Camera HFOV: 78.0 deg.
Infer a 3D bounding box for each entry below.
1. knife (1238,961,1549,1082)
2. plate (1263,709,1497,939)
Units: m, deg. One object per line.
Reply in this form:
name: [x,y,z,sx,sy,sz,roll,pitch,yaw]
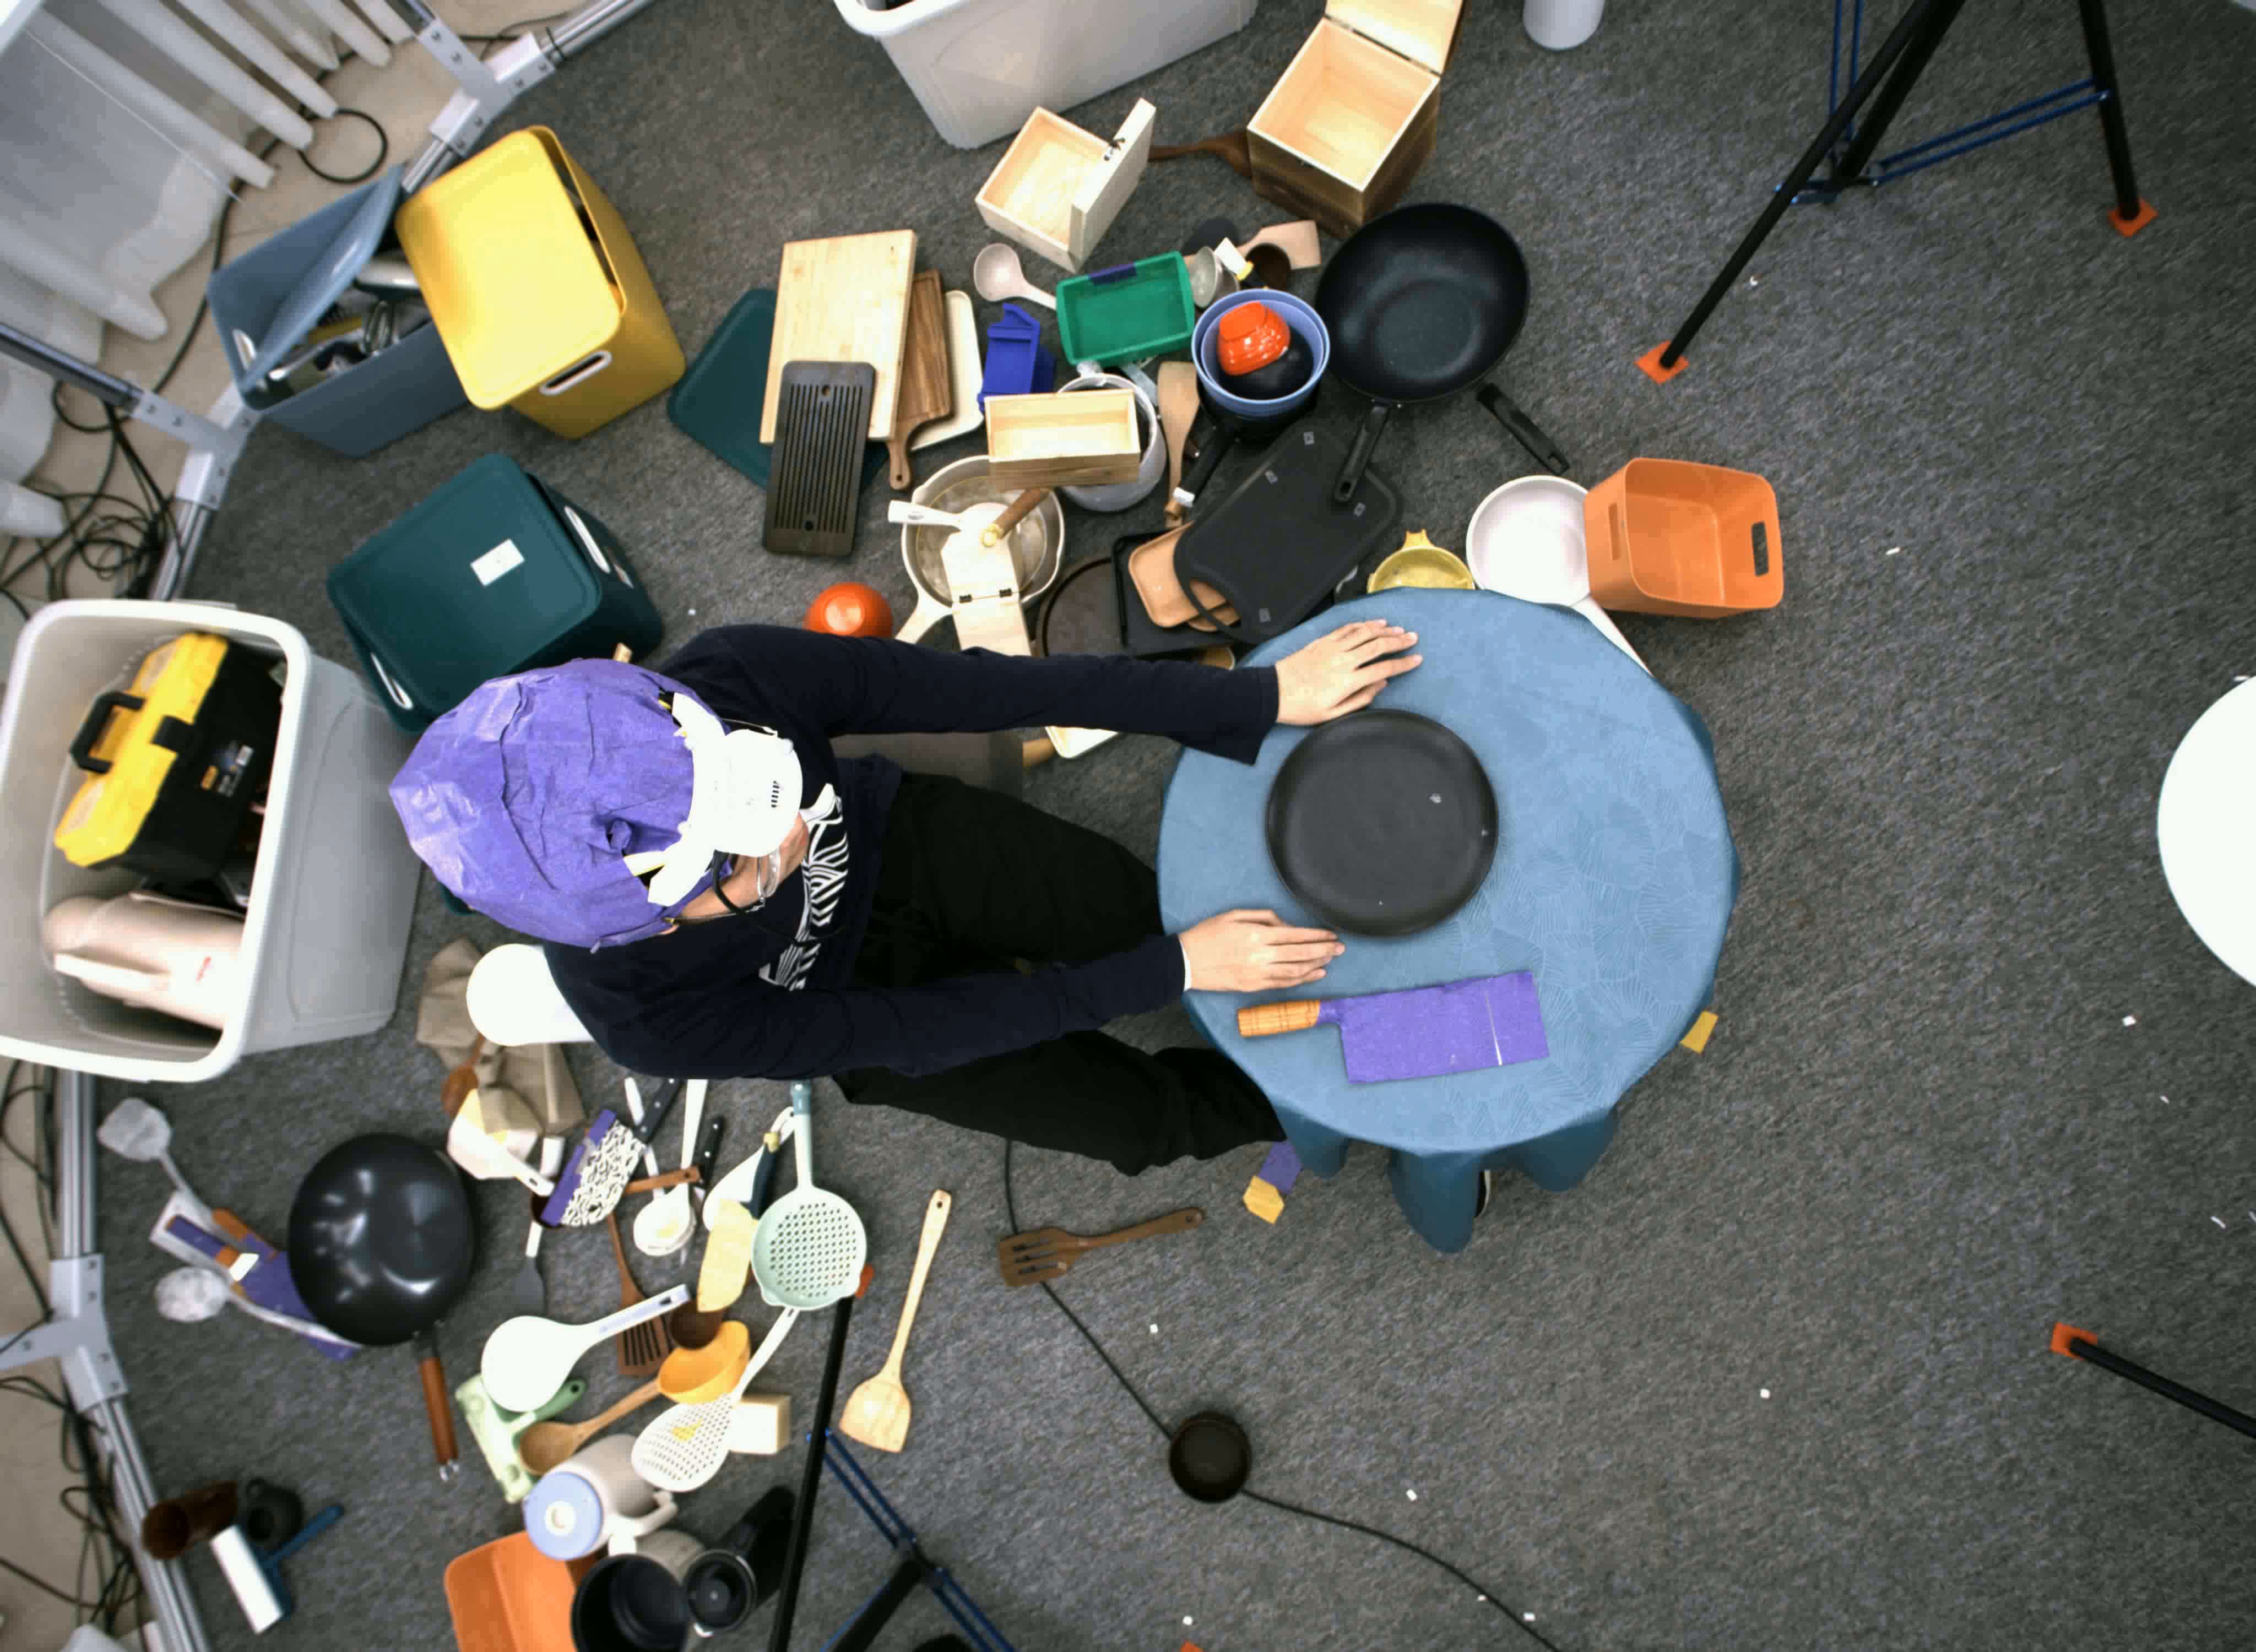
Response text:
knife: [0.275,0.214,1.438,0.317,0.032,0.103,-10,85,10]
plate: [0.264,-0.003,1.454,0.245,0.023,0.243,-1,87,11]
